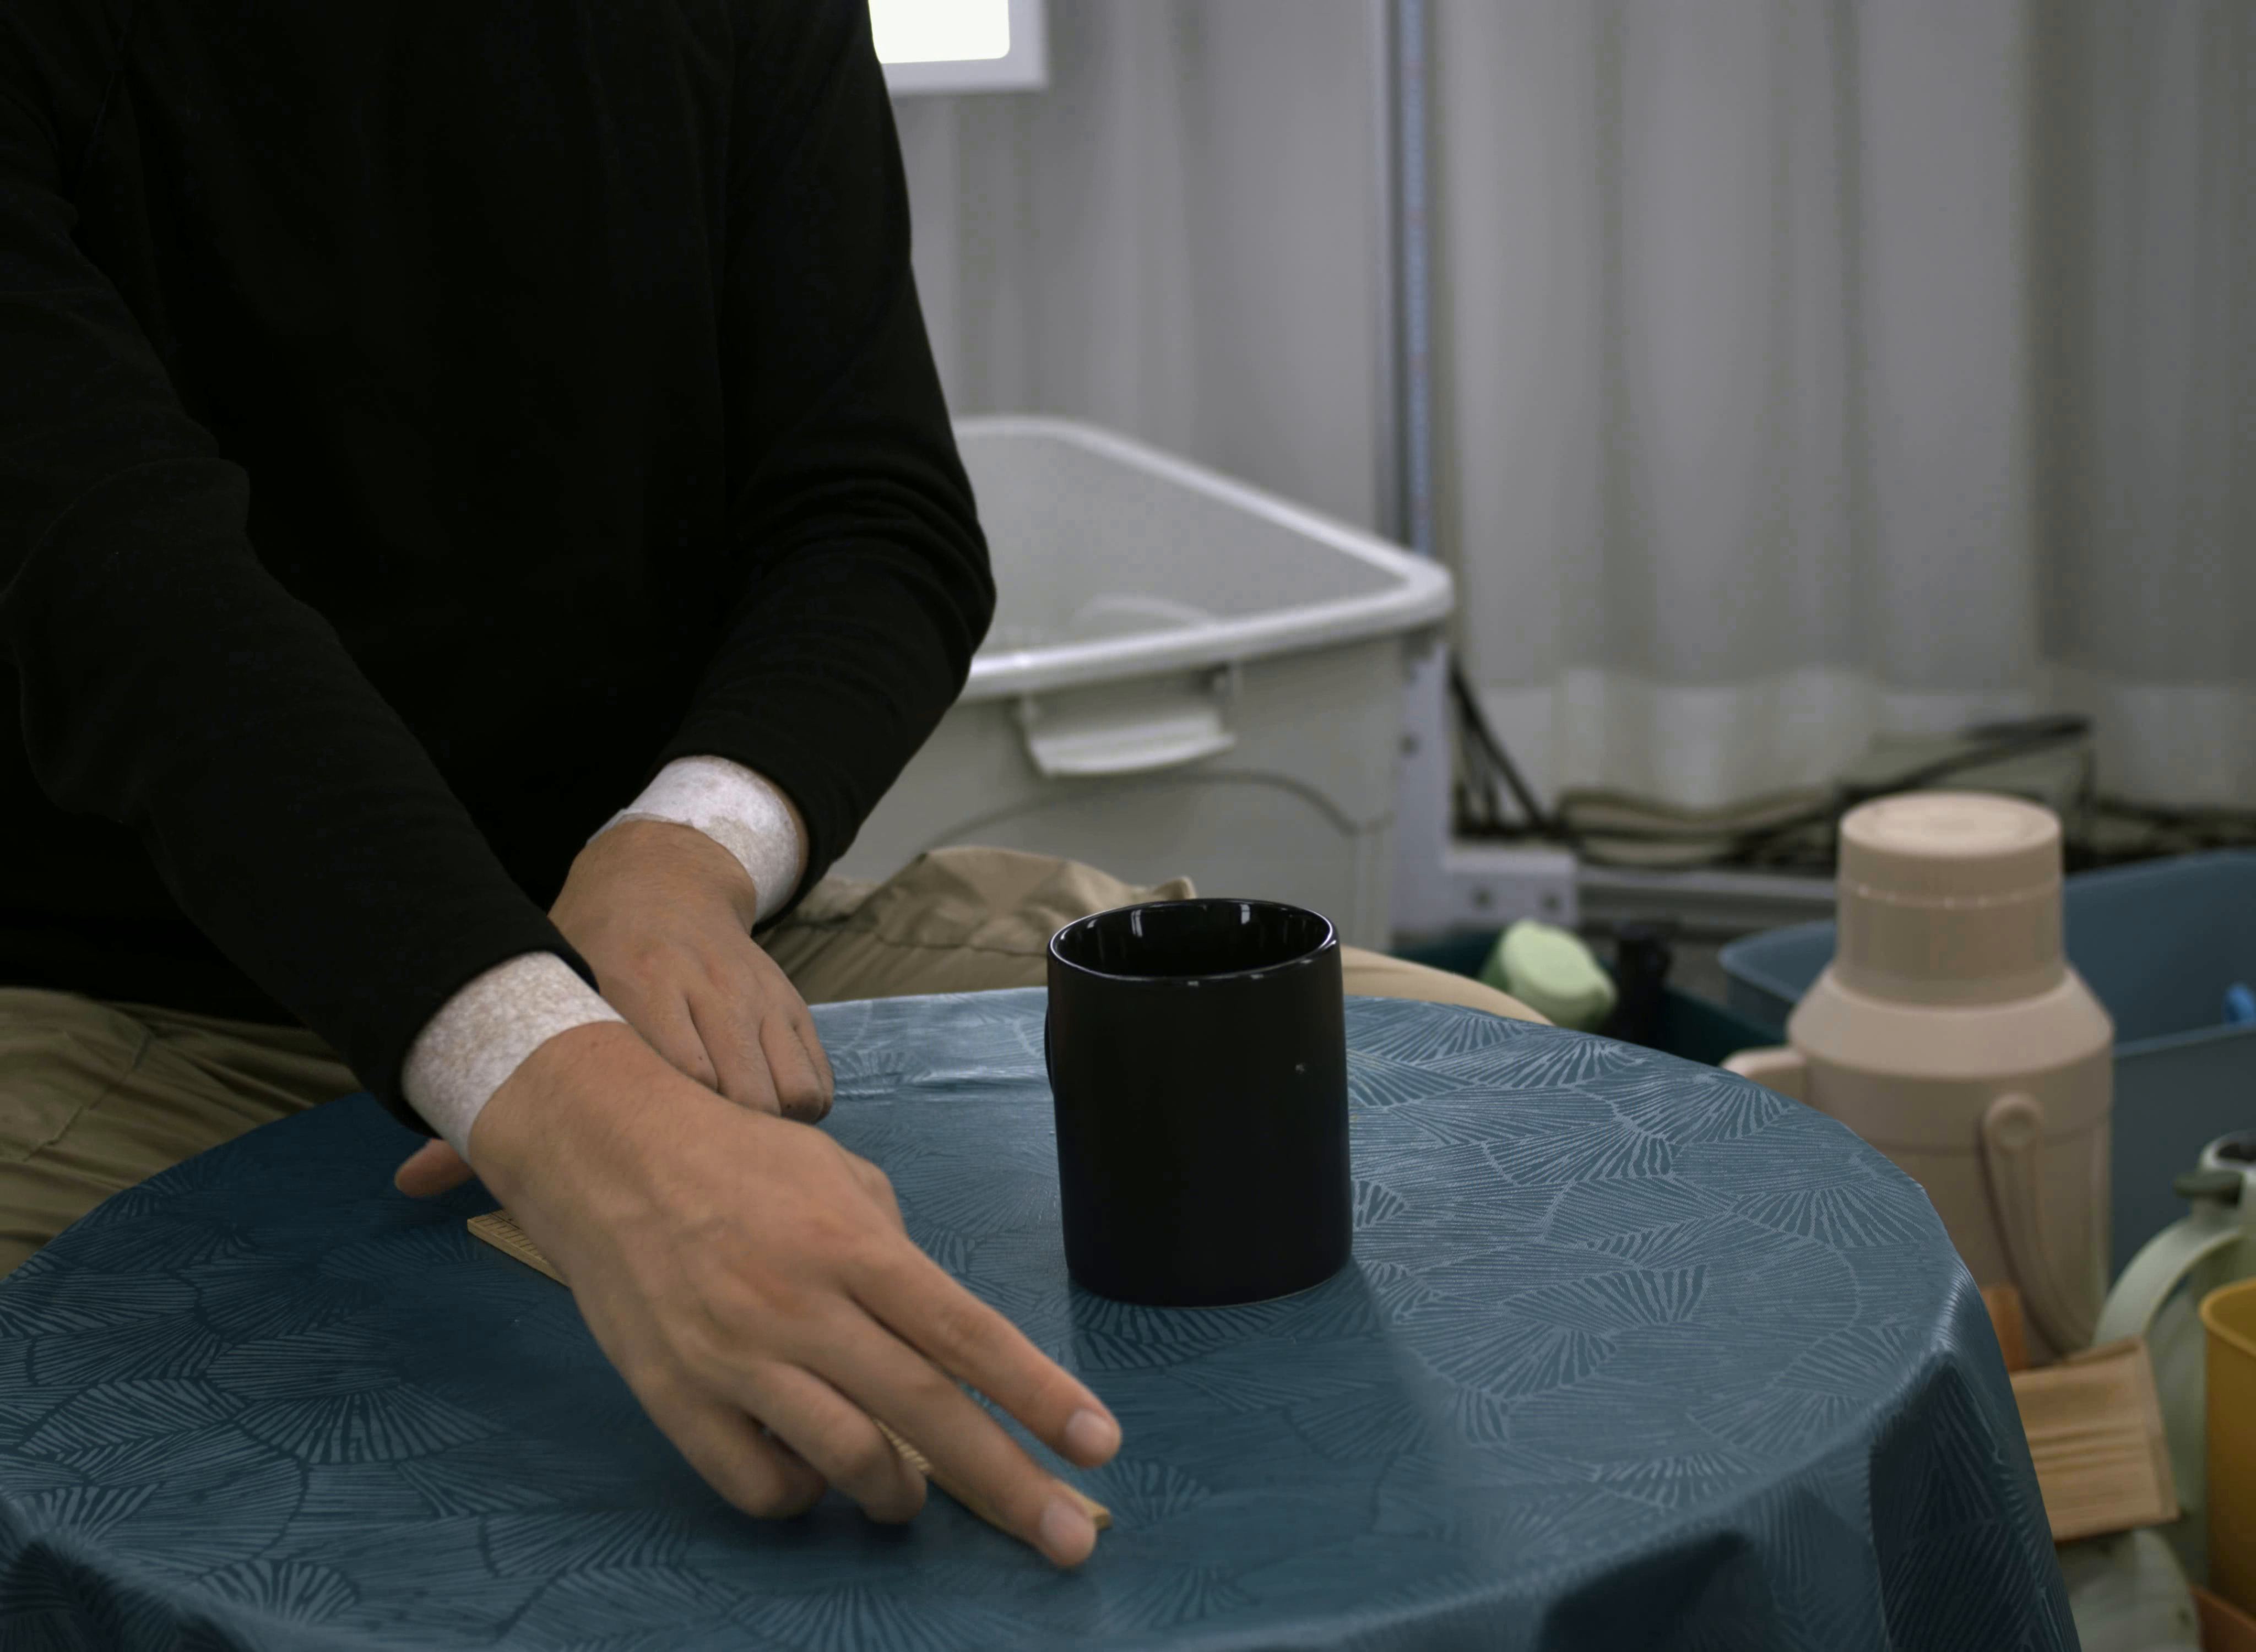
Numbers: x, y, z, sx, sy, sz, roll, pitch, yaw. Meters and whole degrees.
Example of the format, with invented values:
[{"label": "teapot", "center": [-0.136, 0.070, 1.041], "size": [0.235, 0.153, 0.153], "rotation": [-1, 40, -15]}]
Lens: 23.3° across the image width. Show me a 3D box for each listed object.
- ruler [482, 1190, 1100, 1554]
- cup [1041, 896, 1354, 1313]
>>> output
[{"label": "ruler", "center": [-0.105, 0.151, 1.578], "size": [0.027, 0.022, 0.334], "rotation": [-7, 15, -31]}, {"label": "cup", "center": [0.012, 0.079, 1.649], "size": [0.088, 0.105, 0.124], "rotation": [-13, 16, -29]}]
